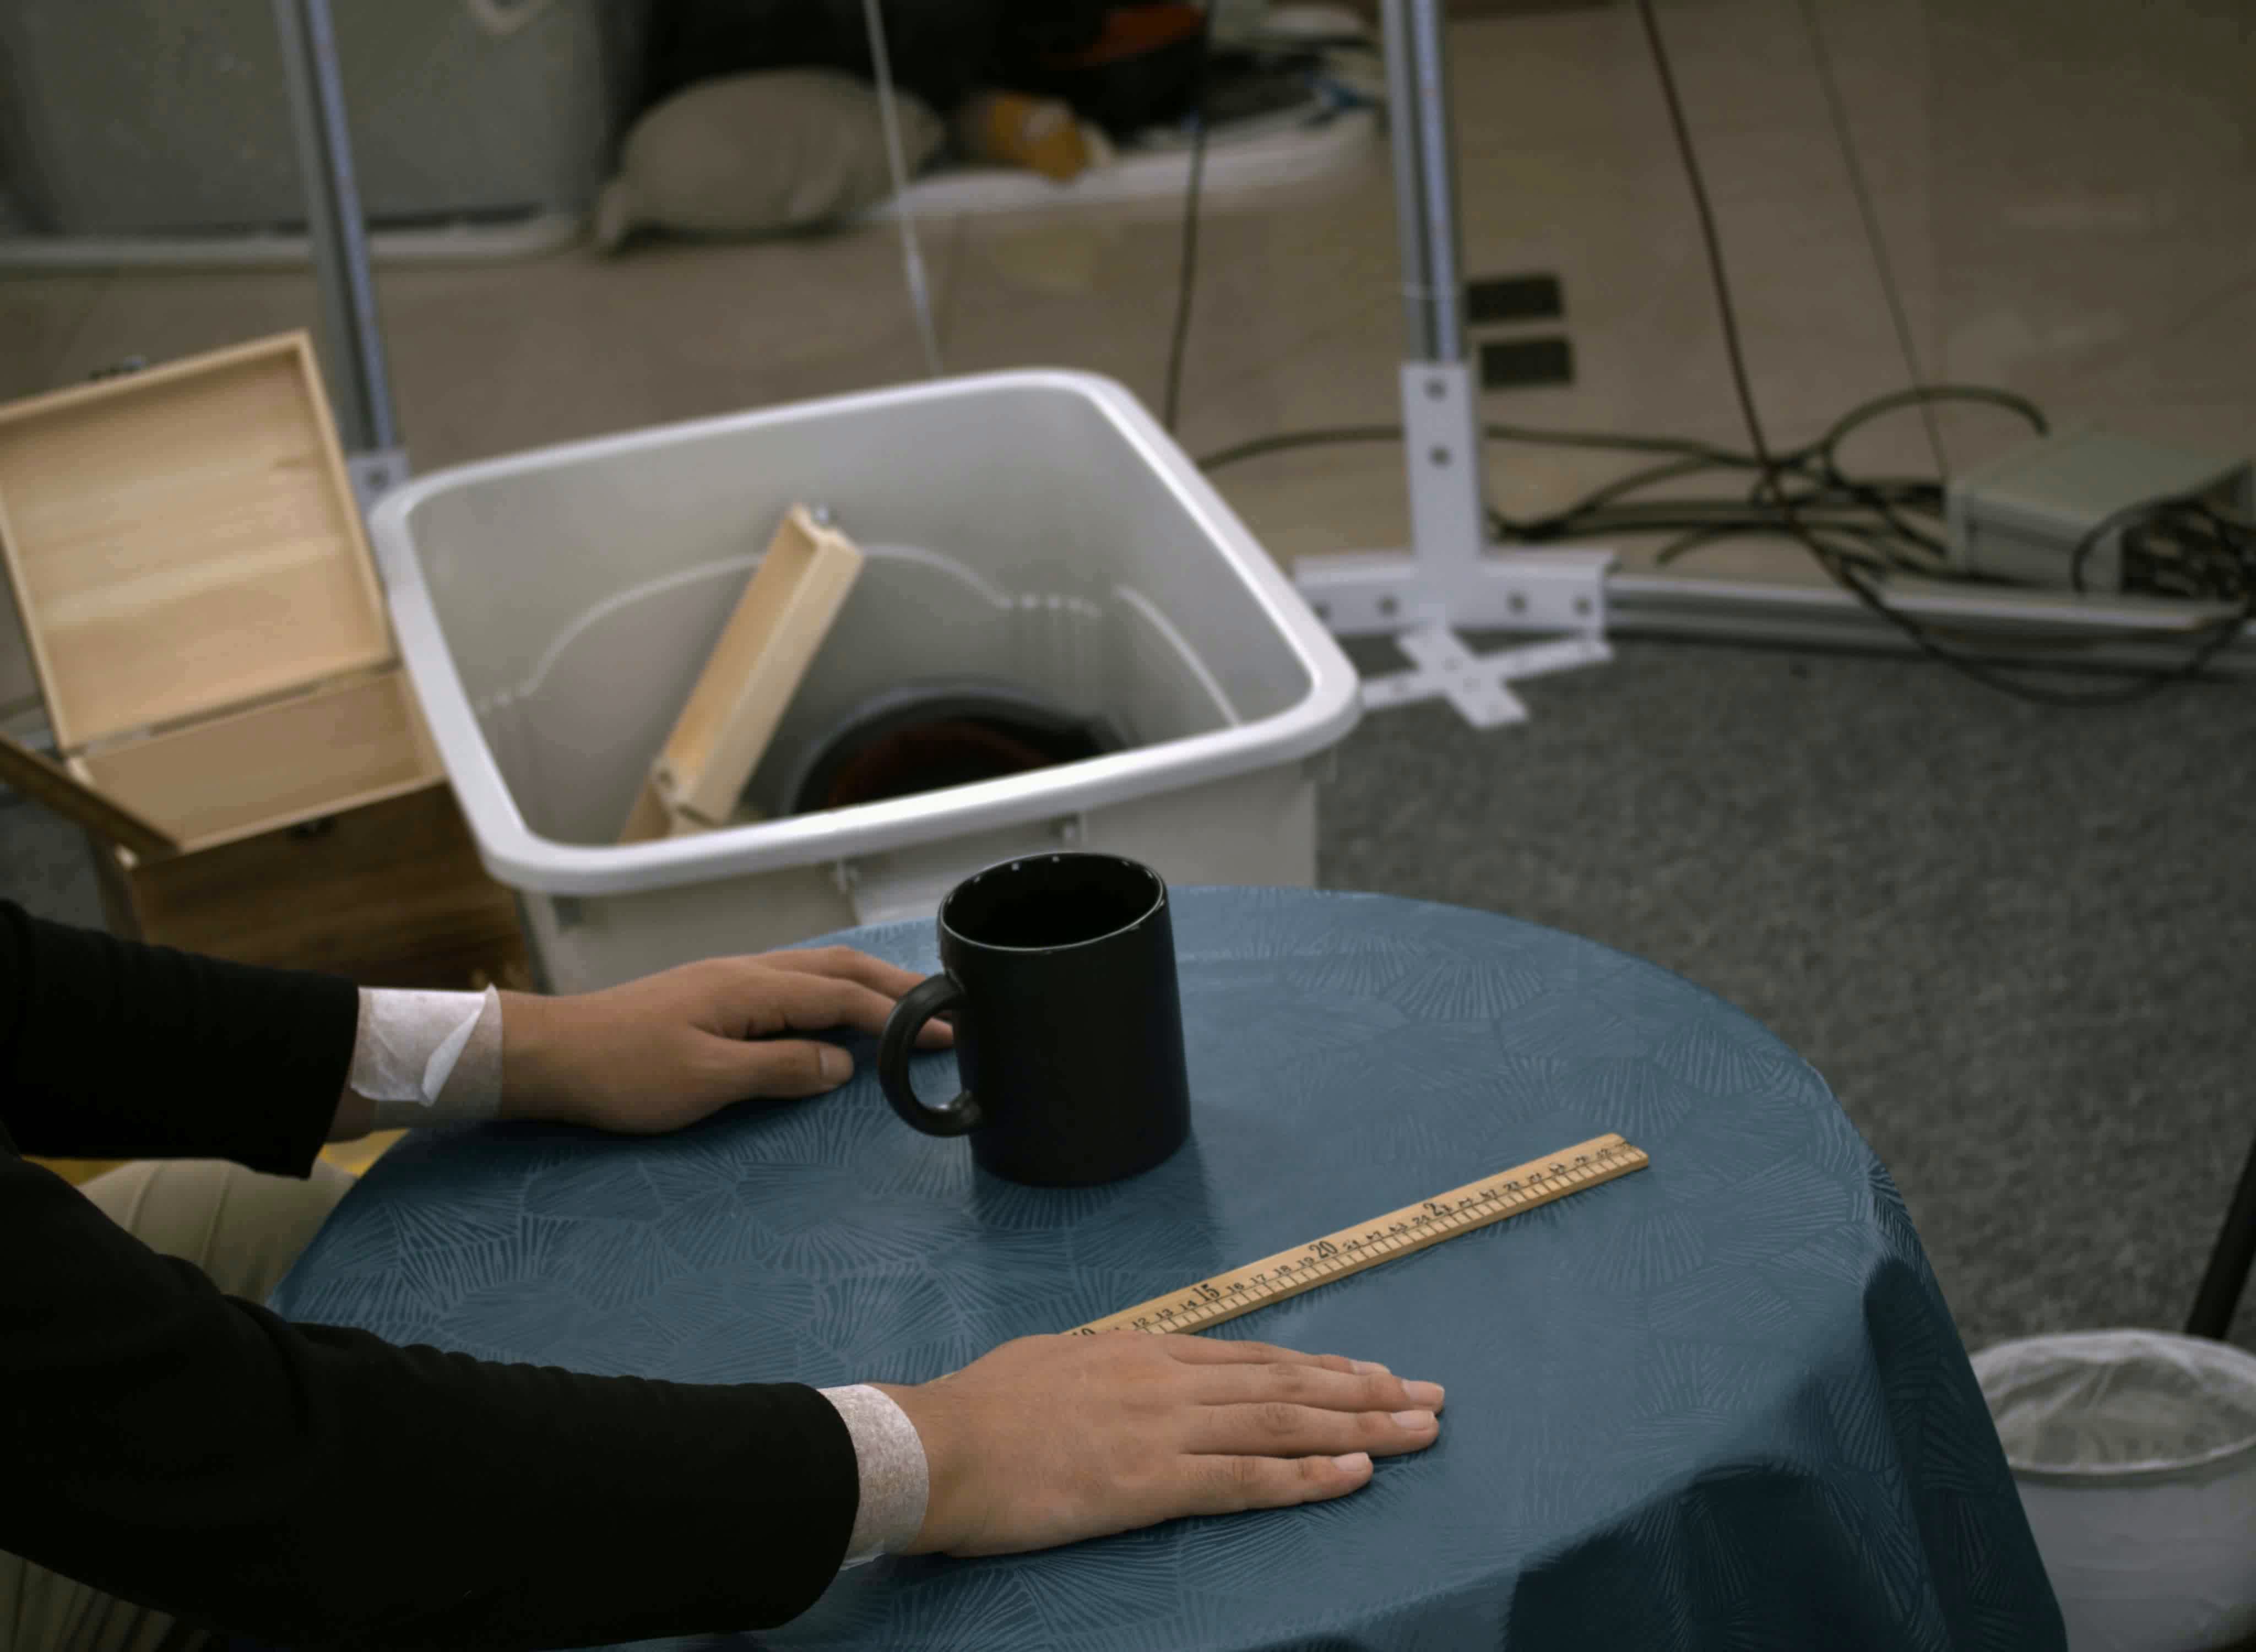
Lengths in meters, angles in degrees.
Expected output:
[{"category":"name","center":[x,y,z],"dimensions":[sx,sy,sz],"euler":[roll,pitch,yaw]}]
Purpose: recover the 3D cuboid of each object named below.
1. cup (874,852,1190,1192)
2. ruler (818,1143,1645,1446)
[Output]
[{"category":"cup","center":[-0.039,0.080,2.163],"dimensions":[0.123,0.107,0.087],"euler":[-18,29,-21]},{"category":"ruler","center":[0.041,0.166,2.067],"dimensions":[0.330,0.022,0.027],"euler":[-17,22,-22]}]
